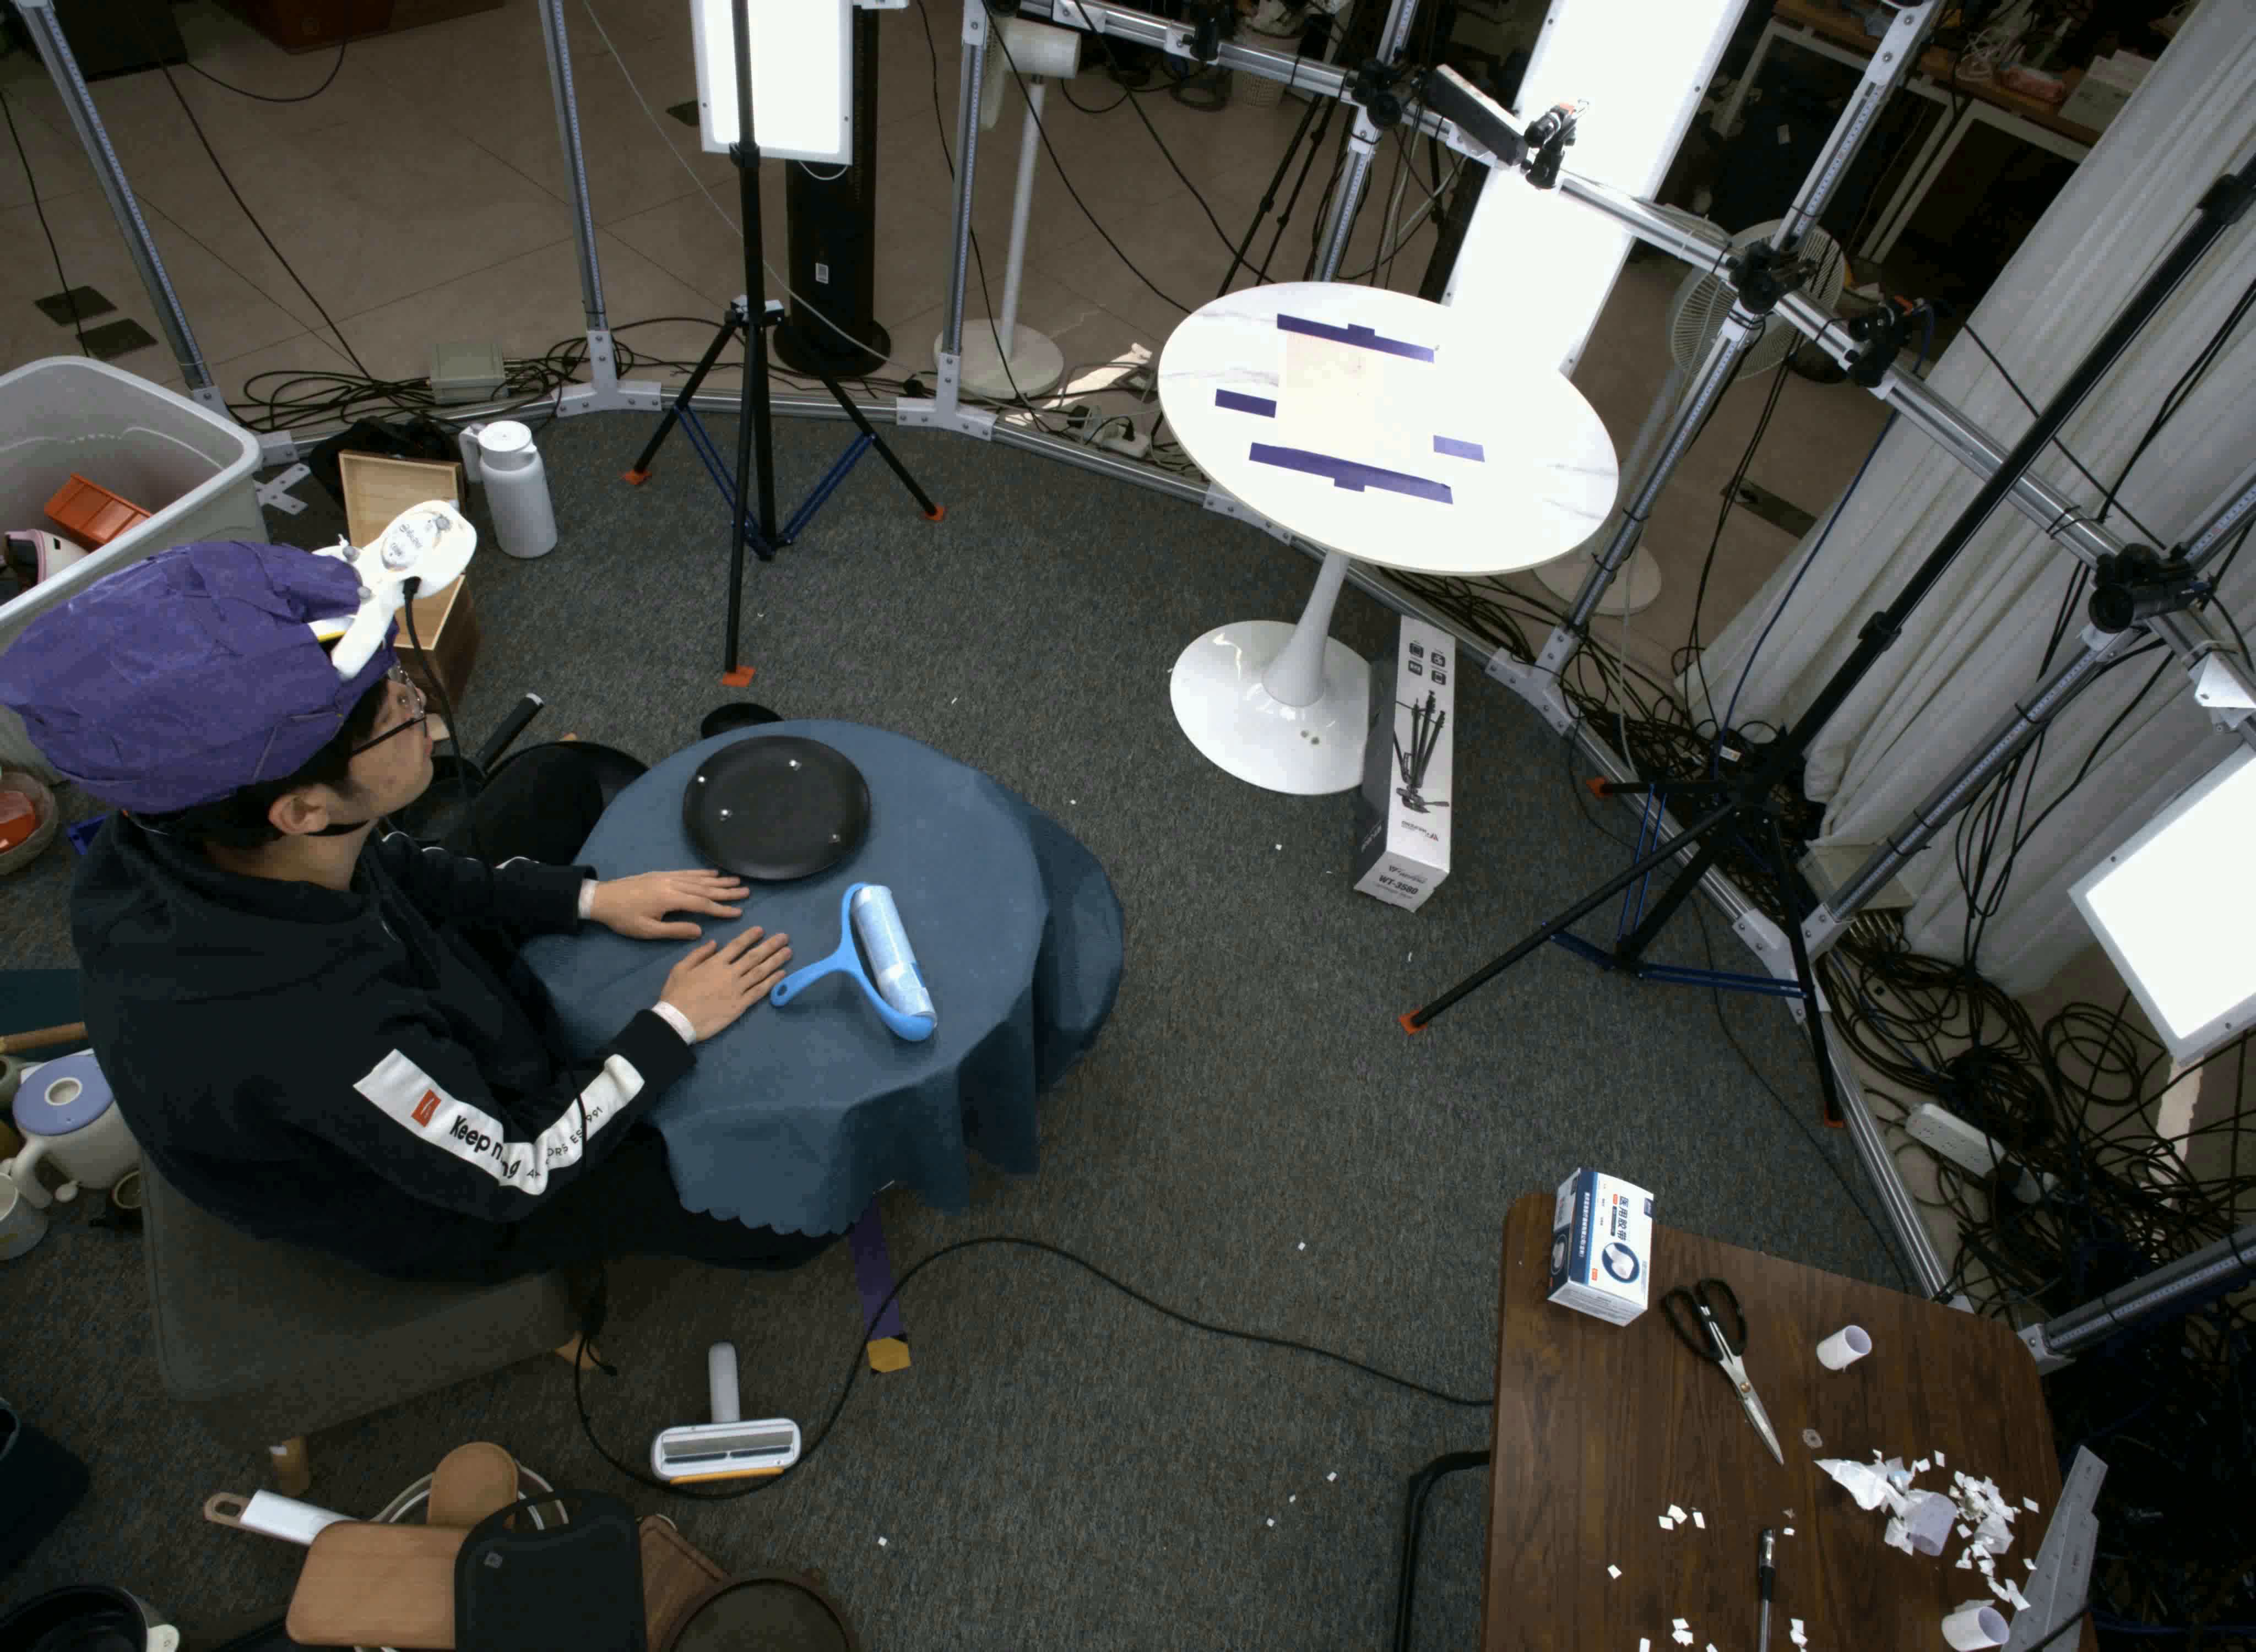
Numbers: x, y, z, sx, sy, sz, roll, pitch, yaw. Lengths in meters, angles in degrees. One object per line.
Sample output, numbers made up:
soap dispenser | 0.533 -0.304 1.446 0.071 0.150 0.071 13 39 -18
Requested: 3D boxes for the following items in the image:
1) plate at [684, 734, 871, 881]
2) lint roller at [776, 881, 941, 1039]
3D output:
plate | -0.465 -0.024 1.722 0.244 0.024 0.240 8 53 -9
lint roller | -0.342 0.176 1.585 0.181 0.069 0.223 -17 61 -25
